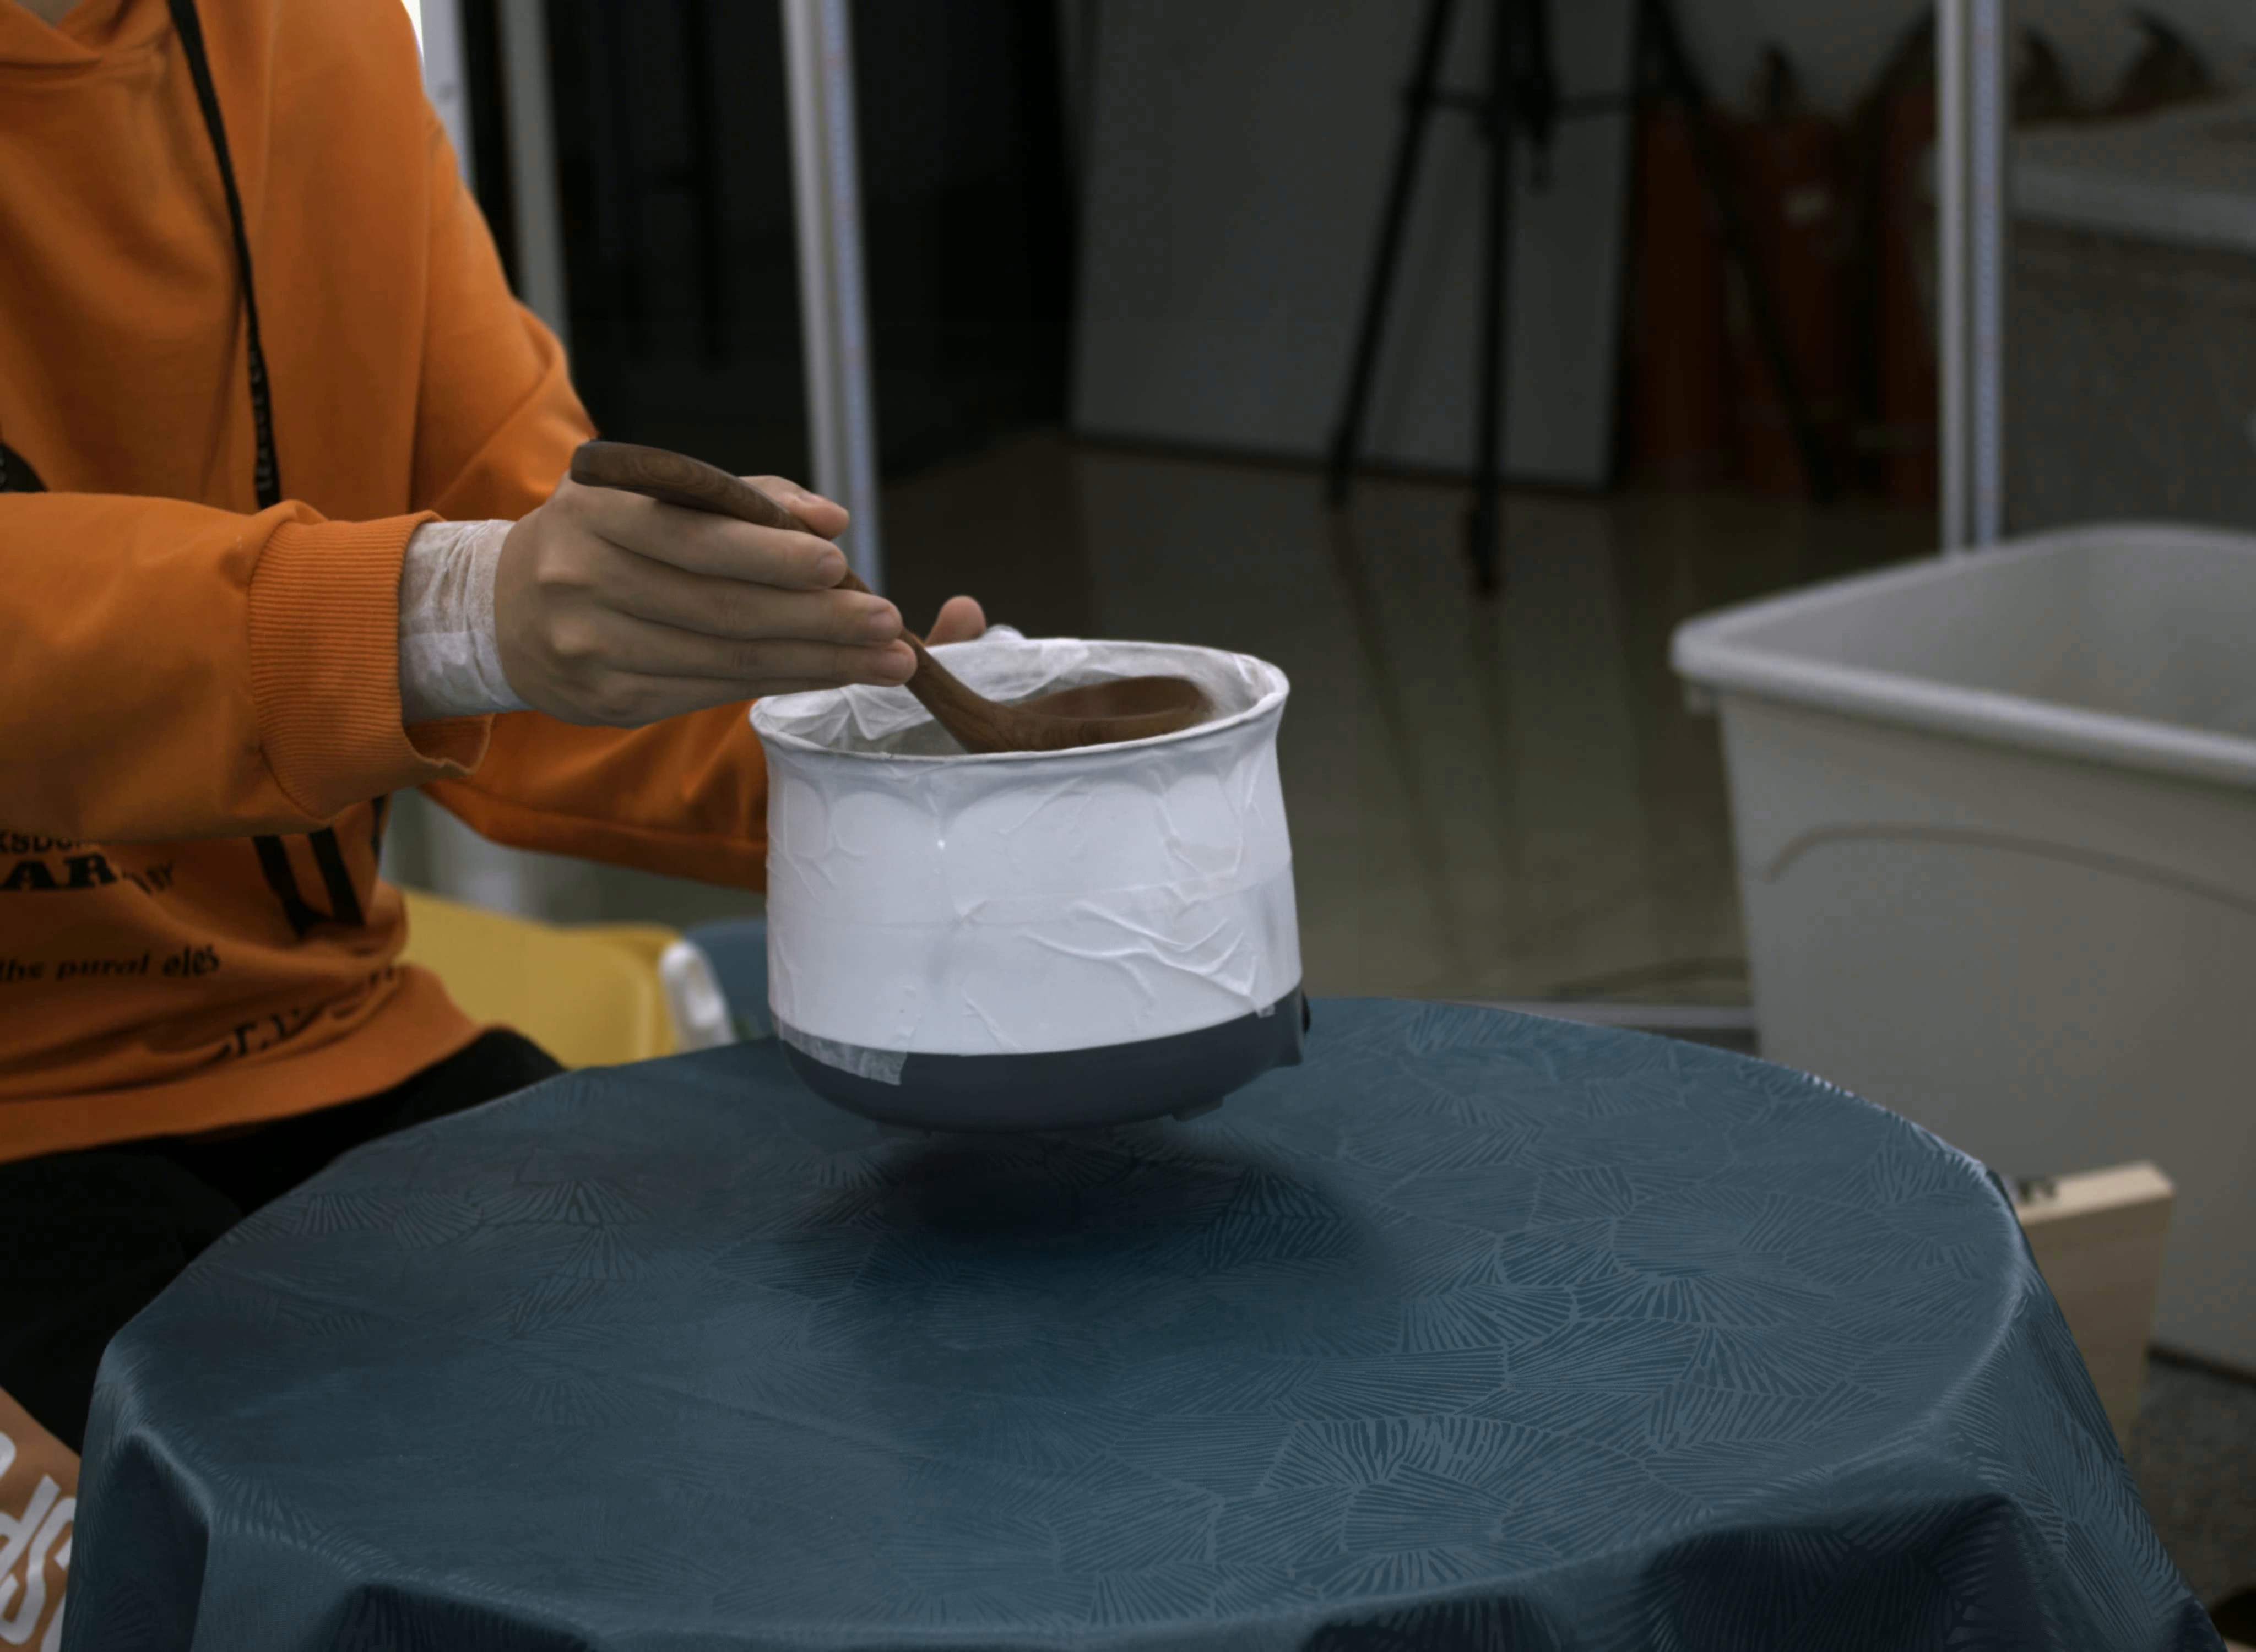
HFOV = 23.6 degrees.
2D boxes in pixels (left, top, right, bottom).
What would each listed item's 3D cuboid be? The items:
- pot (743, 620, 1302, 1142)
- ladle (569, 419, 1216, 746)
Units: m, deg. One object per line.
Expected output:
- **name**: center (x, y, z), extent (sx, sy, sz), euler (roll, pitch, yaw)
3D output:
- **pot**: center (-0.036, 0.013, 1.781), extent (0.176, 0.138, 0.234), euler (-4, 13, -5)
- **ladle**: center (-0.071, -0.078, 1.668), extent (0.077, 0.065, 0.256), euler (-5, -32, 45)
